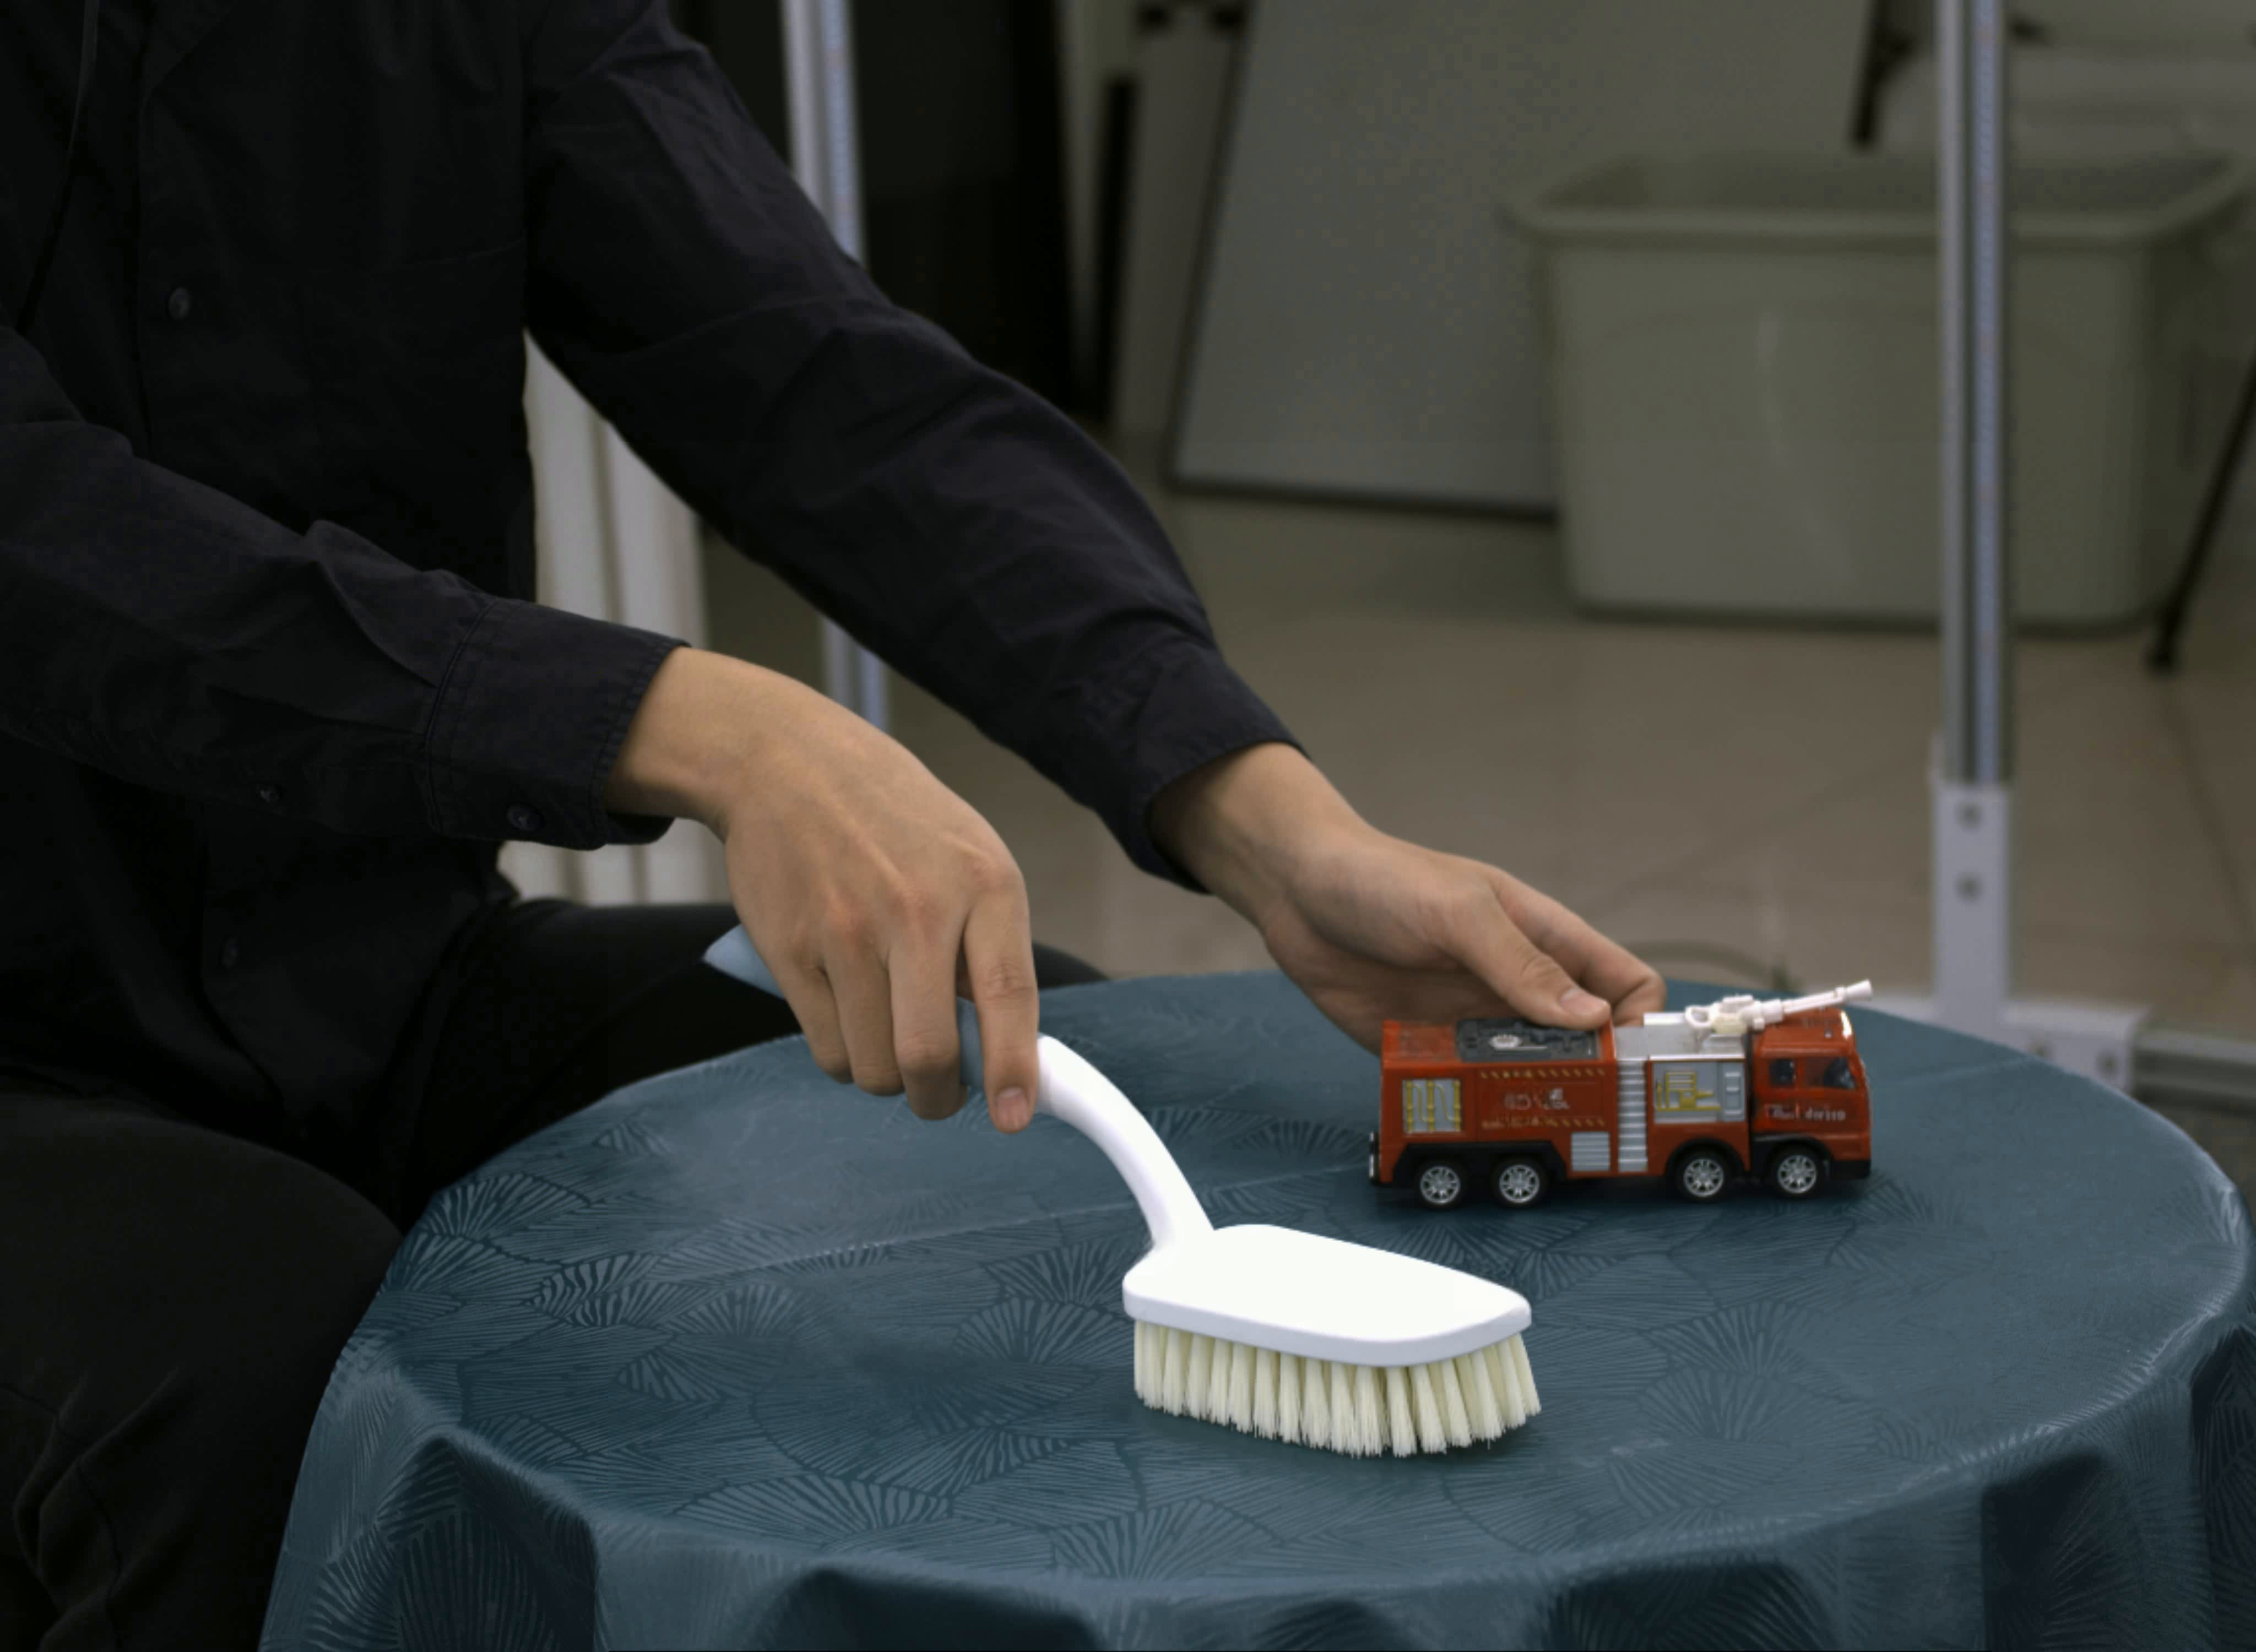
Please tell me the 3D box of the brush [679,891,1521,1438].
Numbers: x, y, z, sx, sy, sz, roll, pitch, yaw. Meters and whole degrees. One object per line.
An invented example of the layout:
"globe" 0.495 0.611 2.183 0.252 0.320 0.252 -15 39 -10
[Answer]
"brush" -0.015 0.114 1.621 0.328 0.085 0.082 23 -9 35

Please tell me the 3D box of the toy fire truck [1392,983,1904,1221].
"toy fire truck" 0.167 0.088 1.729 0.166 0.071 0.054 -3 17 4
